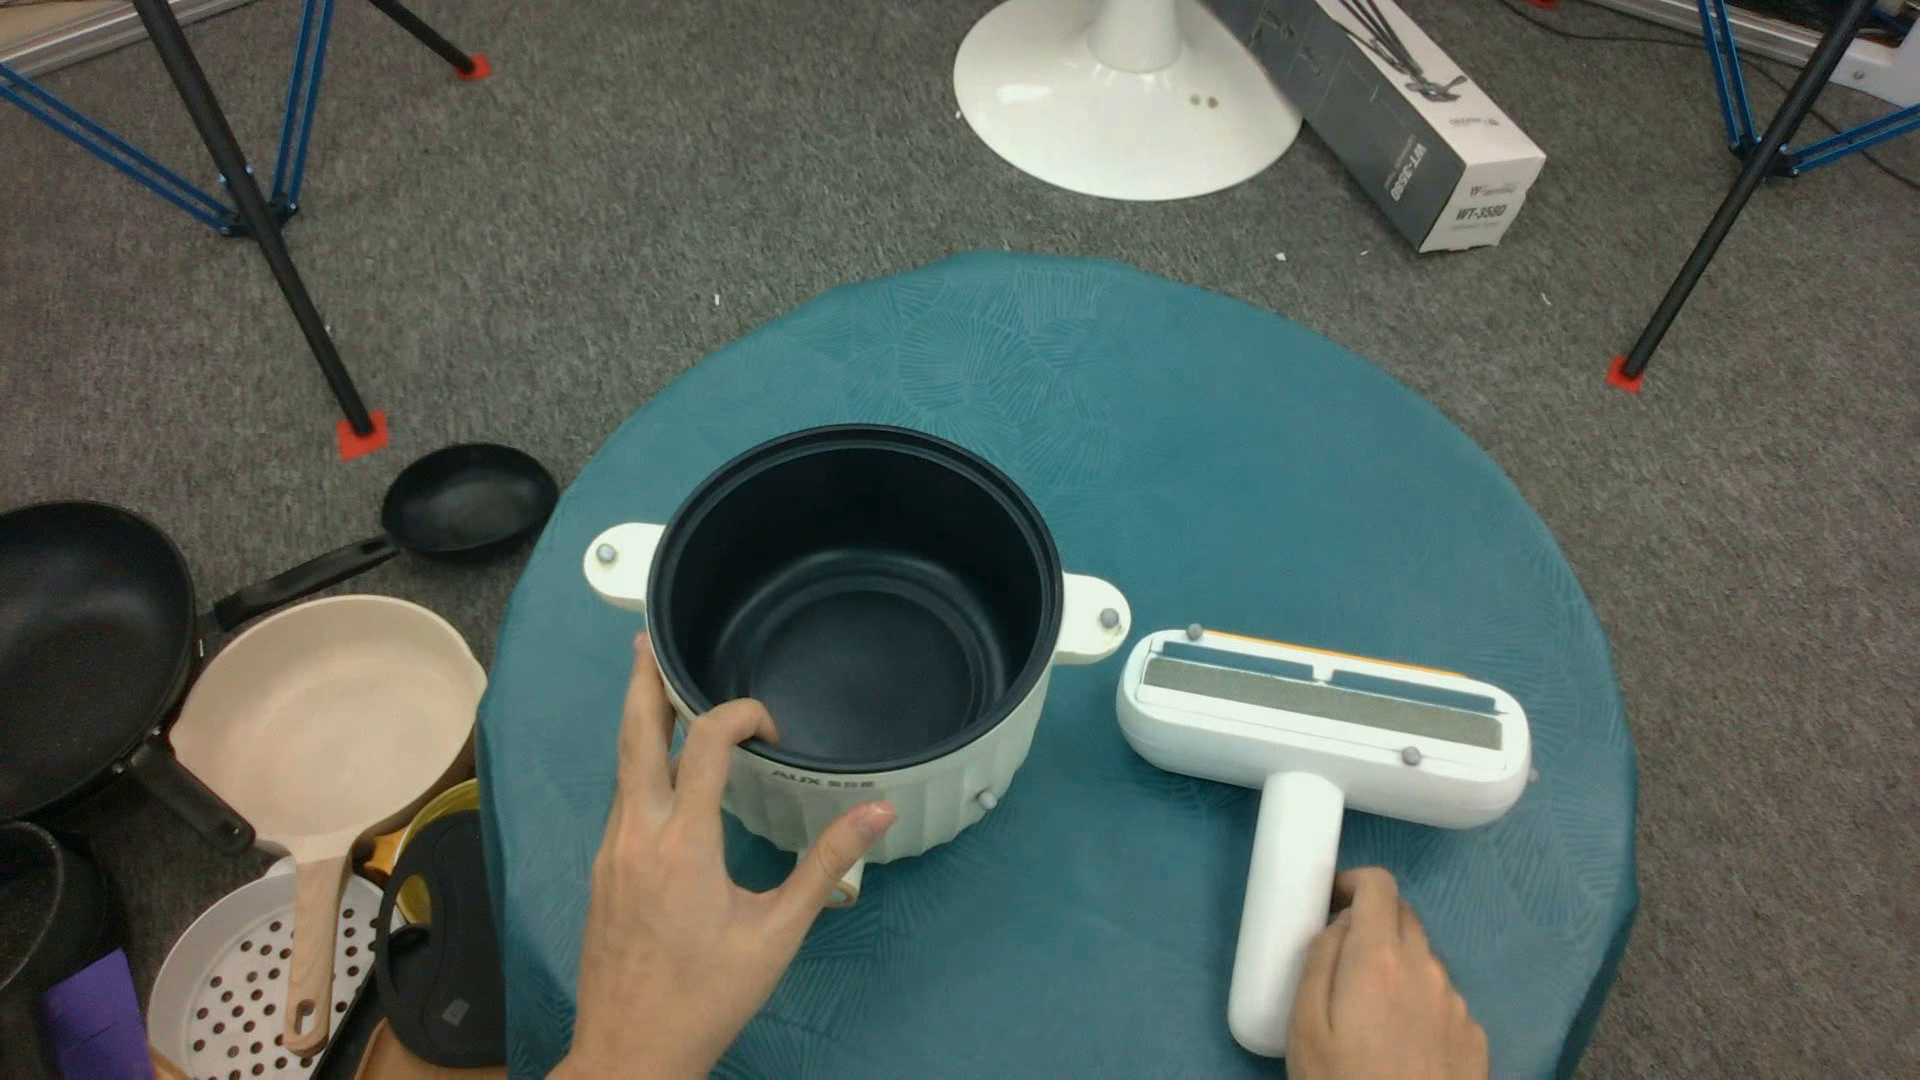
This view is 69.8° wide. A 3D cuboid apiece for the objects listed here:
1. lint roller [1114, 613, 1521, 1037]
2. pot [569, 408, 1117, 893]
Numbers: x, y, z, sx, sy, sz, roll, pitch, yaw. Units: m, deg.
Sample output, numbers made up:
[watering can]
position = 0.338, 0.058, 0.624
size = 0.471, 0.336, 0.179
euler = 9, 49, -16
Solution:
[lint roller]
position = 0.152, 0.134, 0.648
size = 0.193, 0.074, 0.193
euler = 15, 56, 13
[pot]
position = -0.054, 0.054, 0.646
size = 0.240, 0.142, 0.191
euler = 7, 51, 2
